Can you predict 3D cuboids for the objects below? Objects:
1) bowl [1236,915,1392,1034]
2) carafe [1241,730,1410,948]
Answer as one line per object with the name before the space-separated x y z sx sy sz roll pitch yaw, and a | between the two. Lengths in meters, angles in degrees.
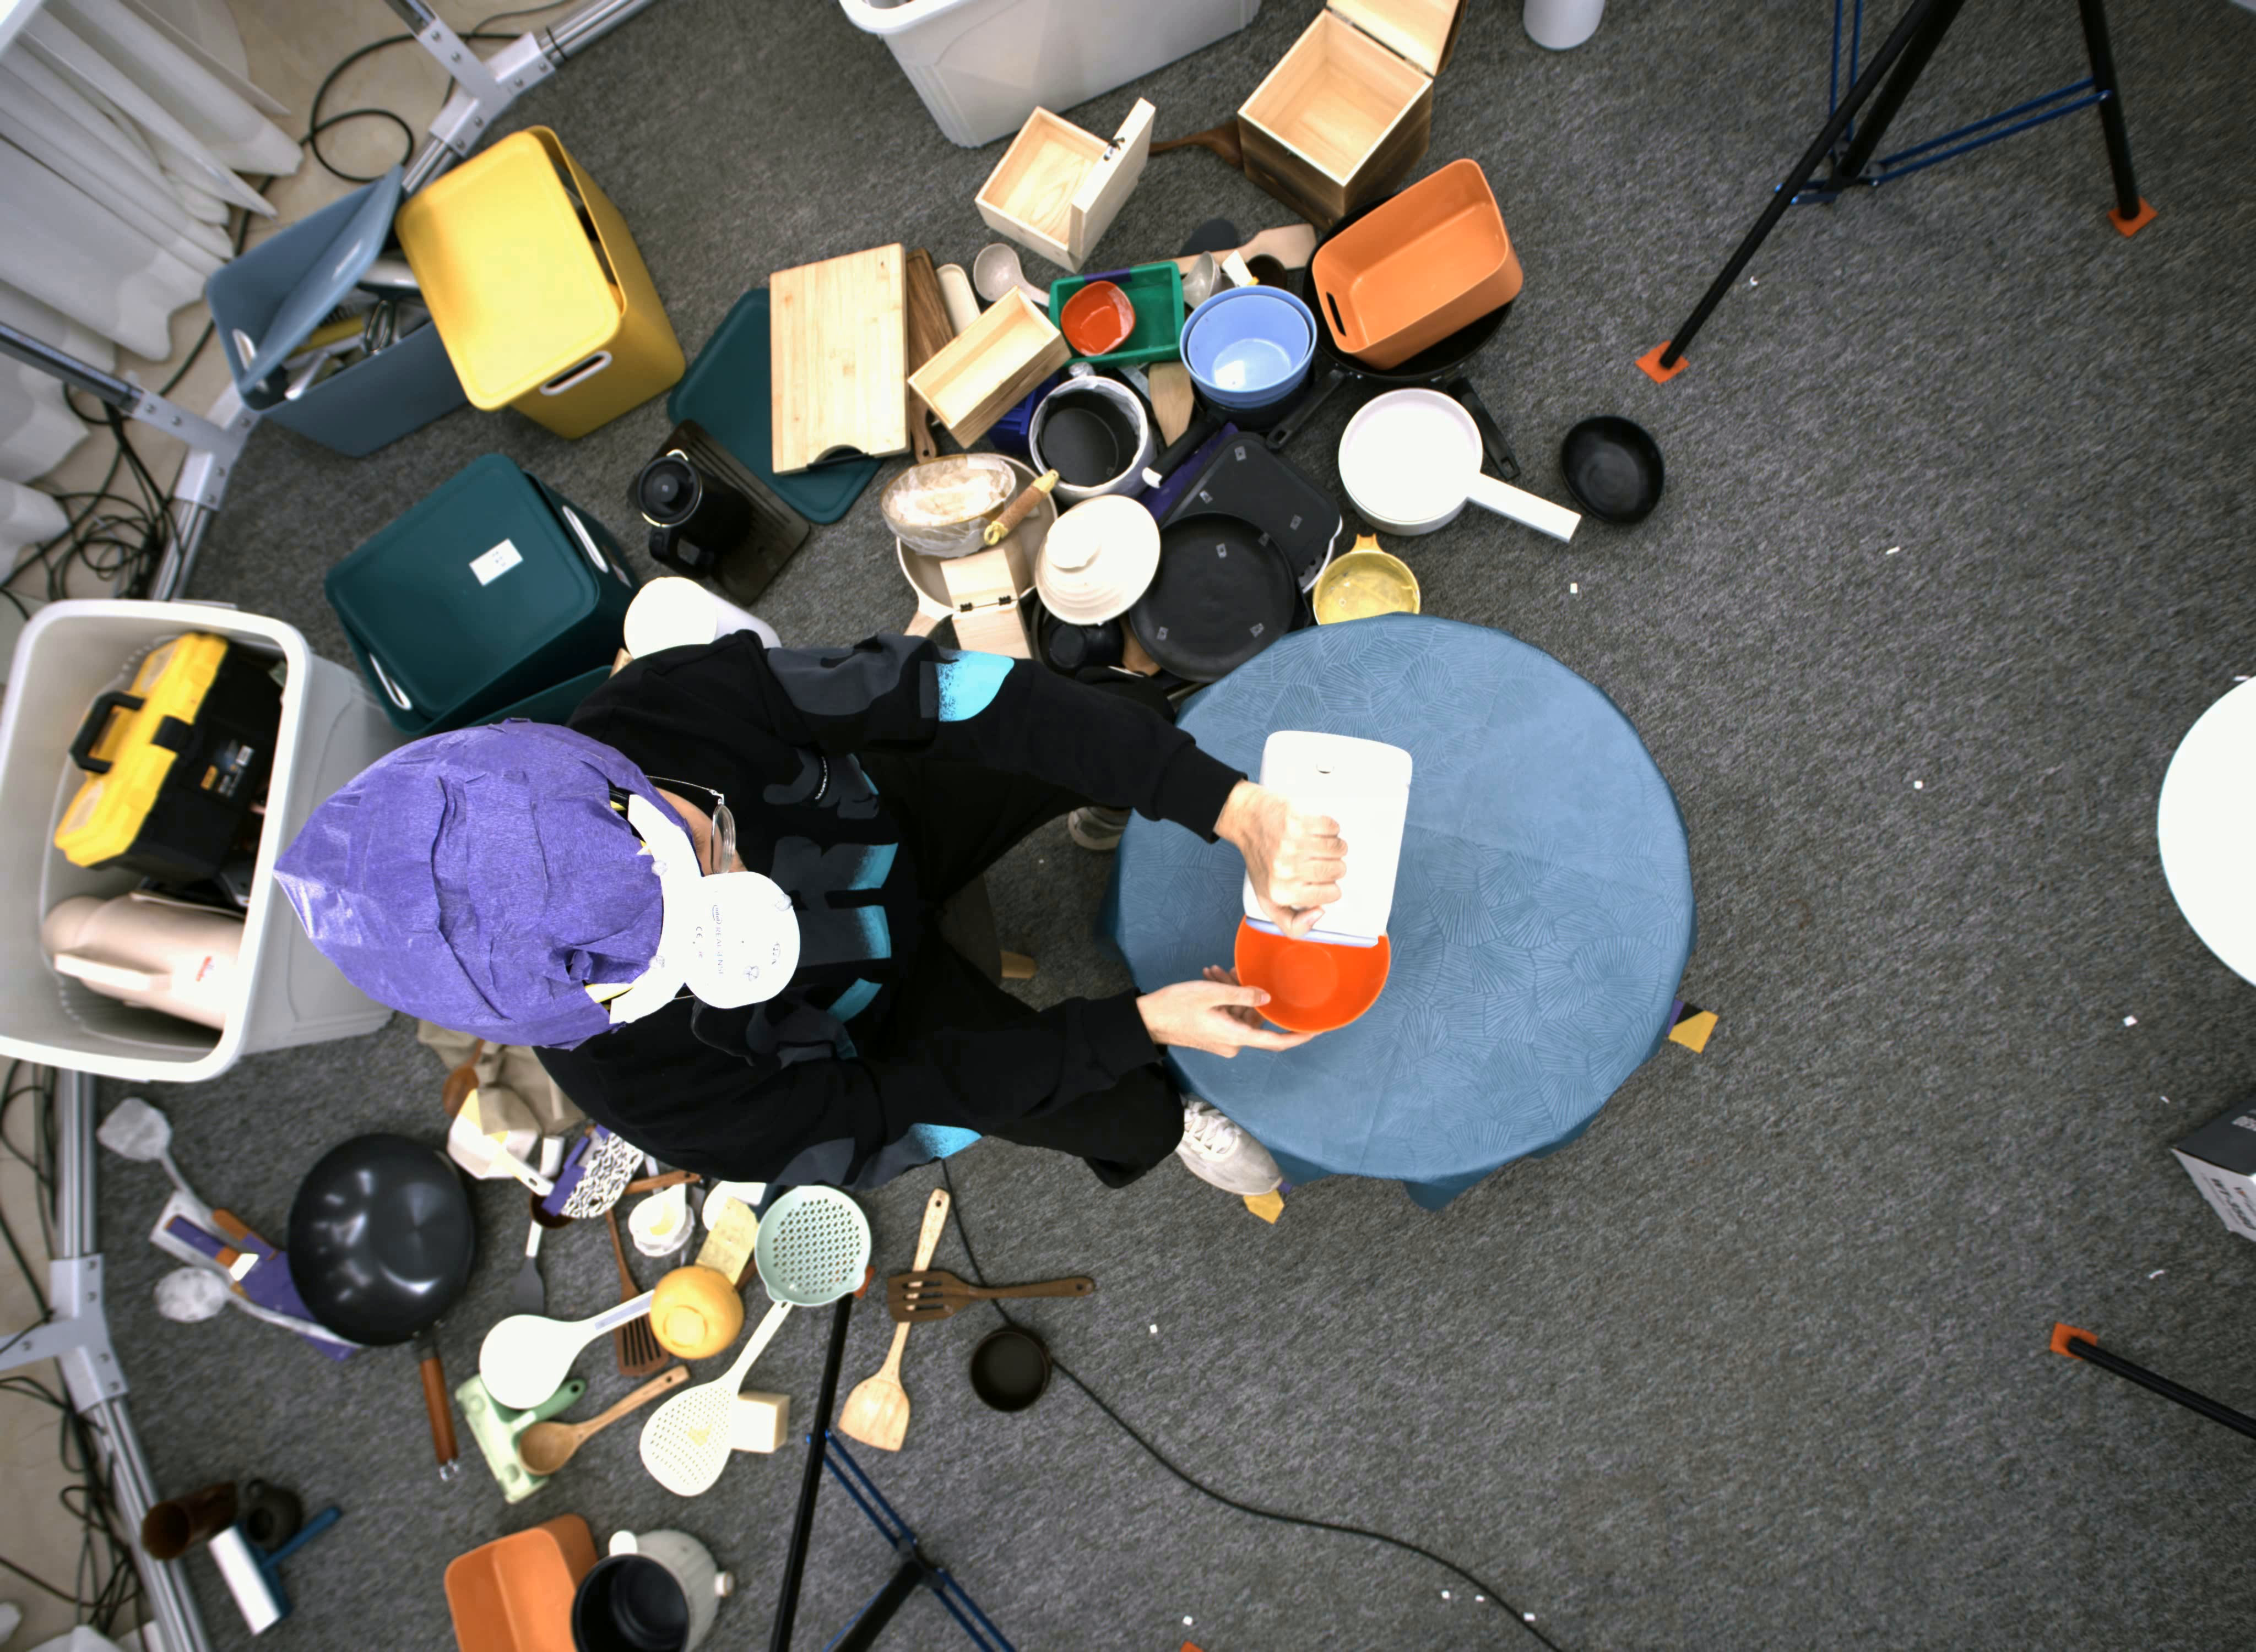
bowl | 0.178 0.131 1.353 0.148 0.105 0.146 -1 79 4
carafe | 0.165 0.008 1.188 0.132 0.191 0.182 8 87 18
